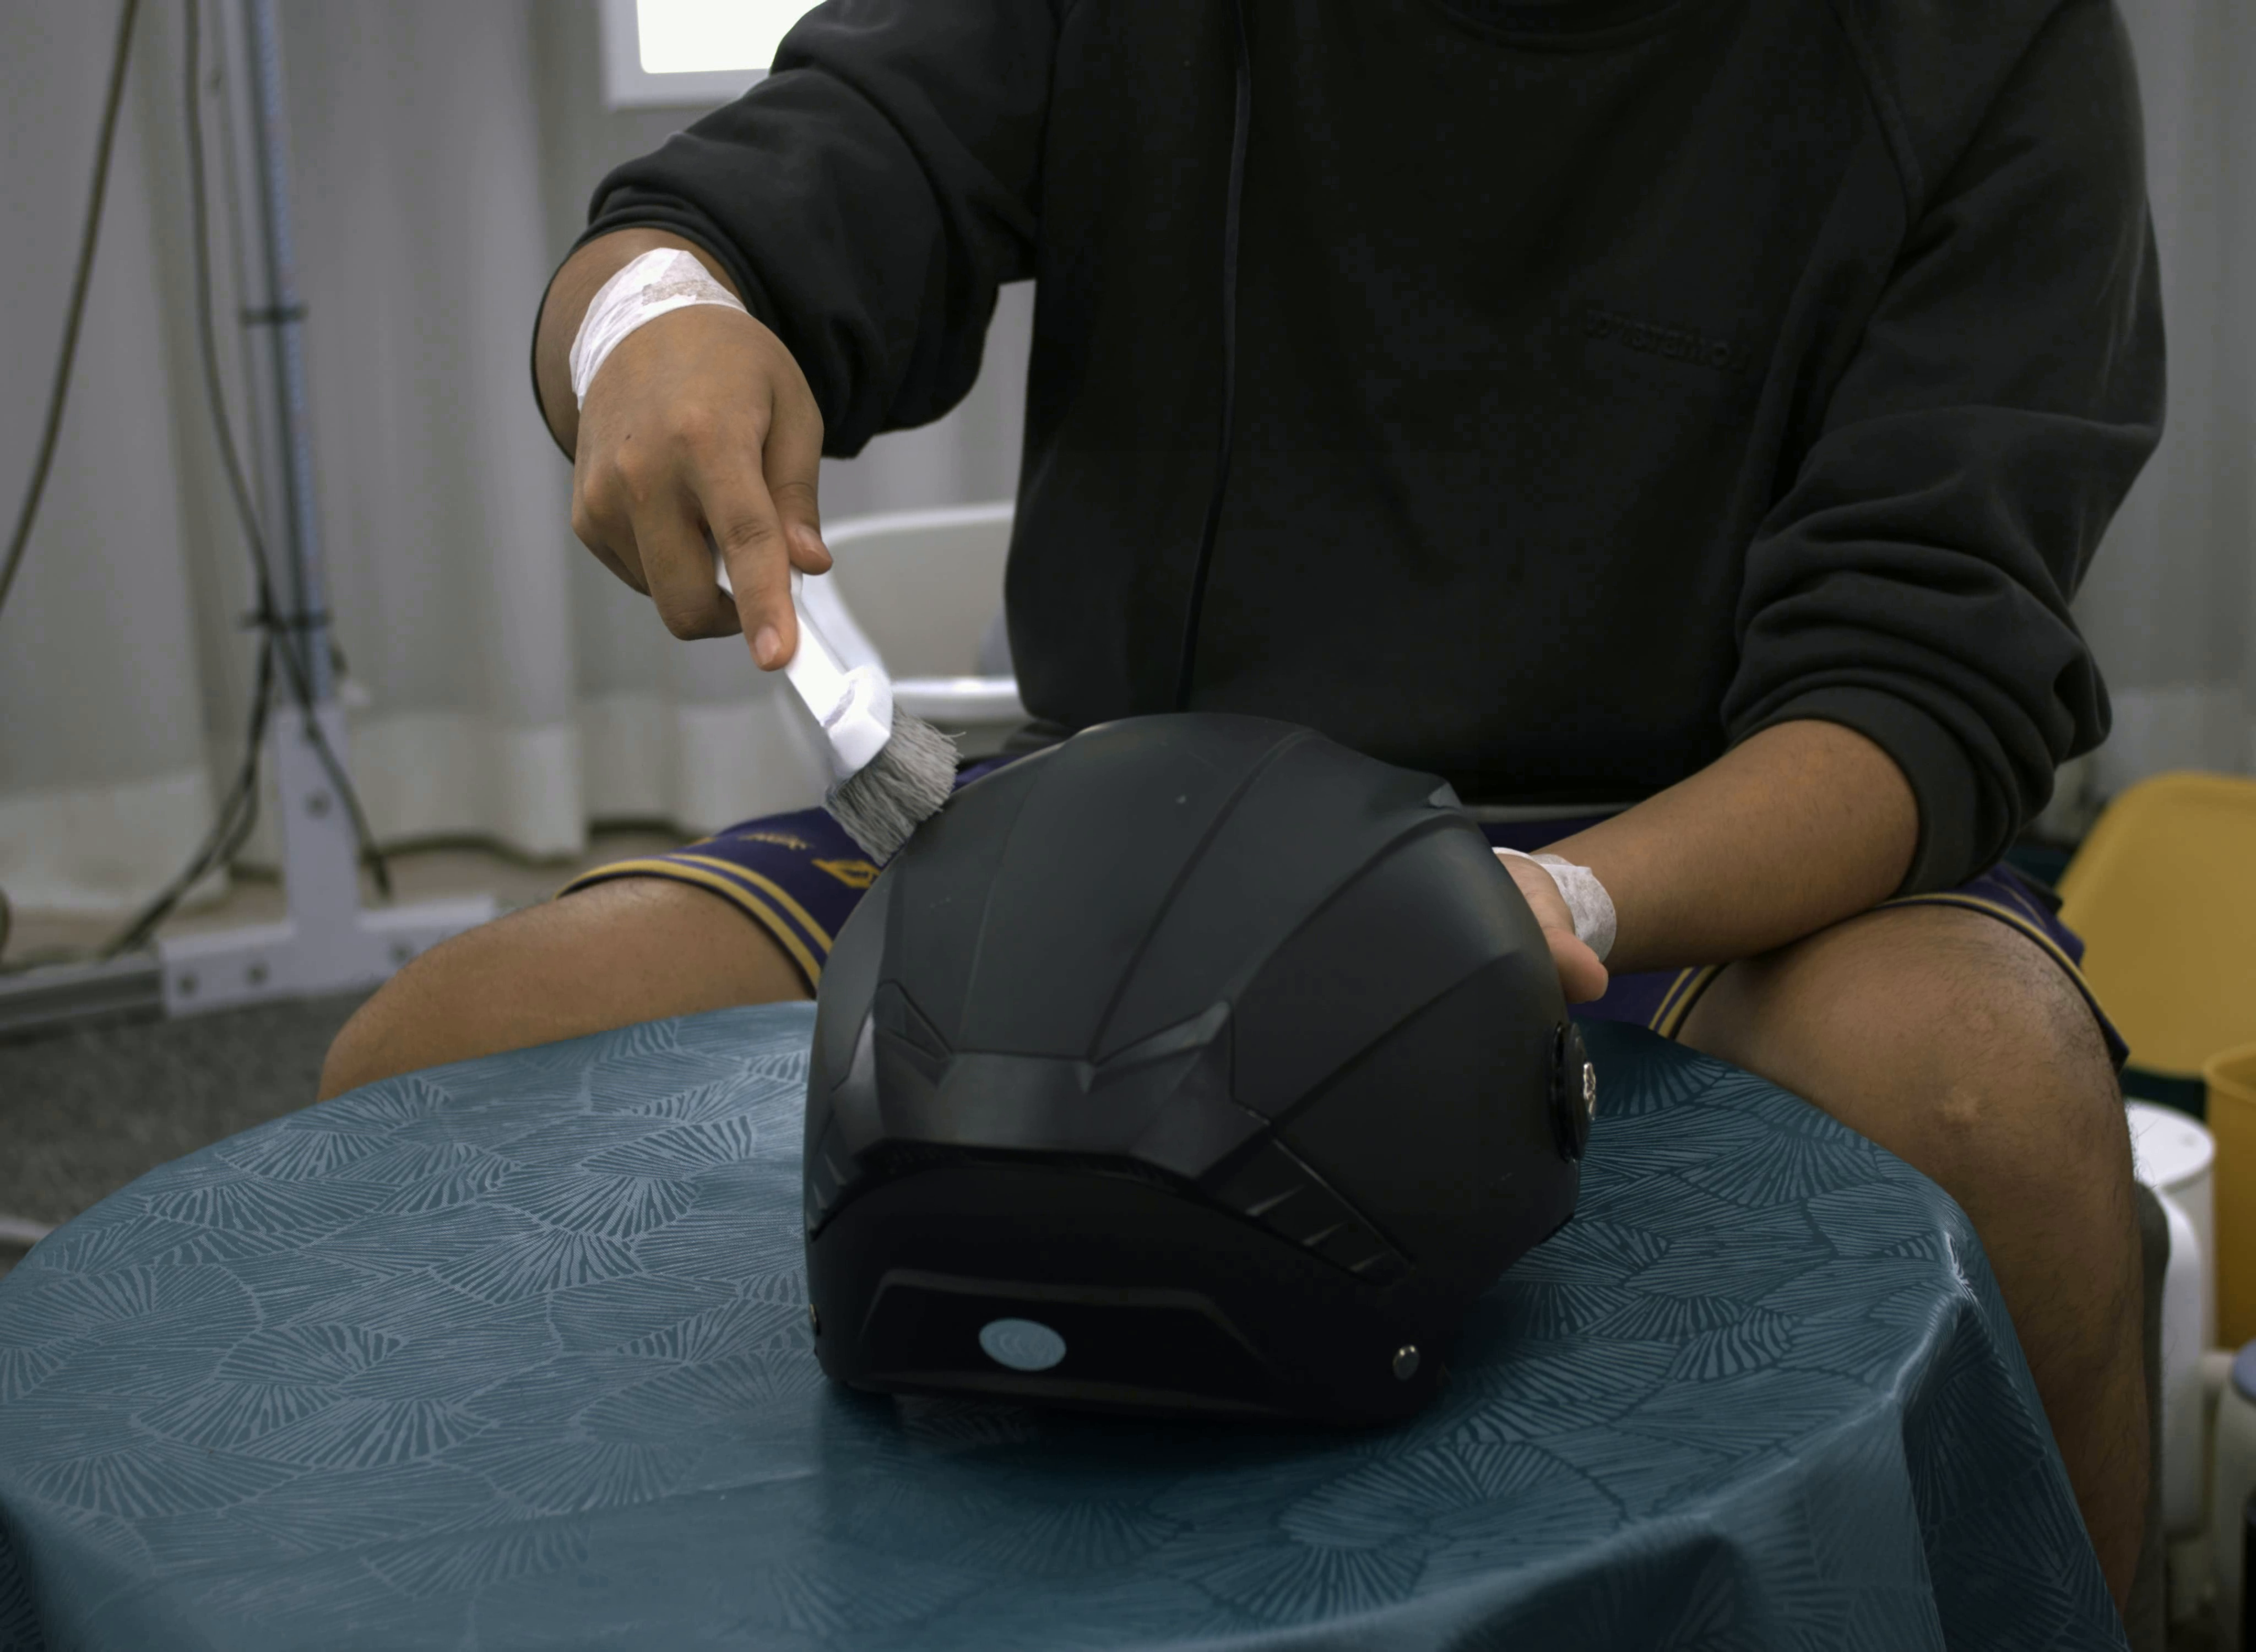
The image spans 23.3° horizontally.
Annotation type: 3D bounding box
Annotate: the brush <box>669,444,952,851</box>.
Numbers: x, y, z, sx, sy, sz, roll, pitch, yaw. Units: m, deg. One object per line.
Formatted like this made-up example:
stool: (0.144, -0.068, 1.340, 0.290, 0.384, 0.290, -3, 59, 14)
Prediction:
brush: (-0.097, -0.057, 1.673, 0.050, 0.034, 0.246, 38, 9, -27)

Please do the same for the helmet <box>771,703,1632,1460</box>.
helmet: (0.016, 0.055, 1.570, 0.247, 0.170, 0.279, 4, 33, 21)
